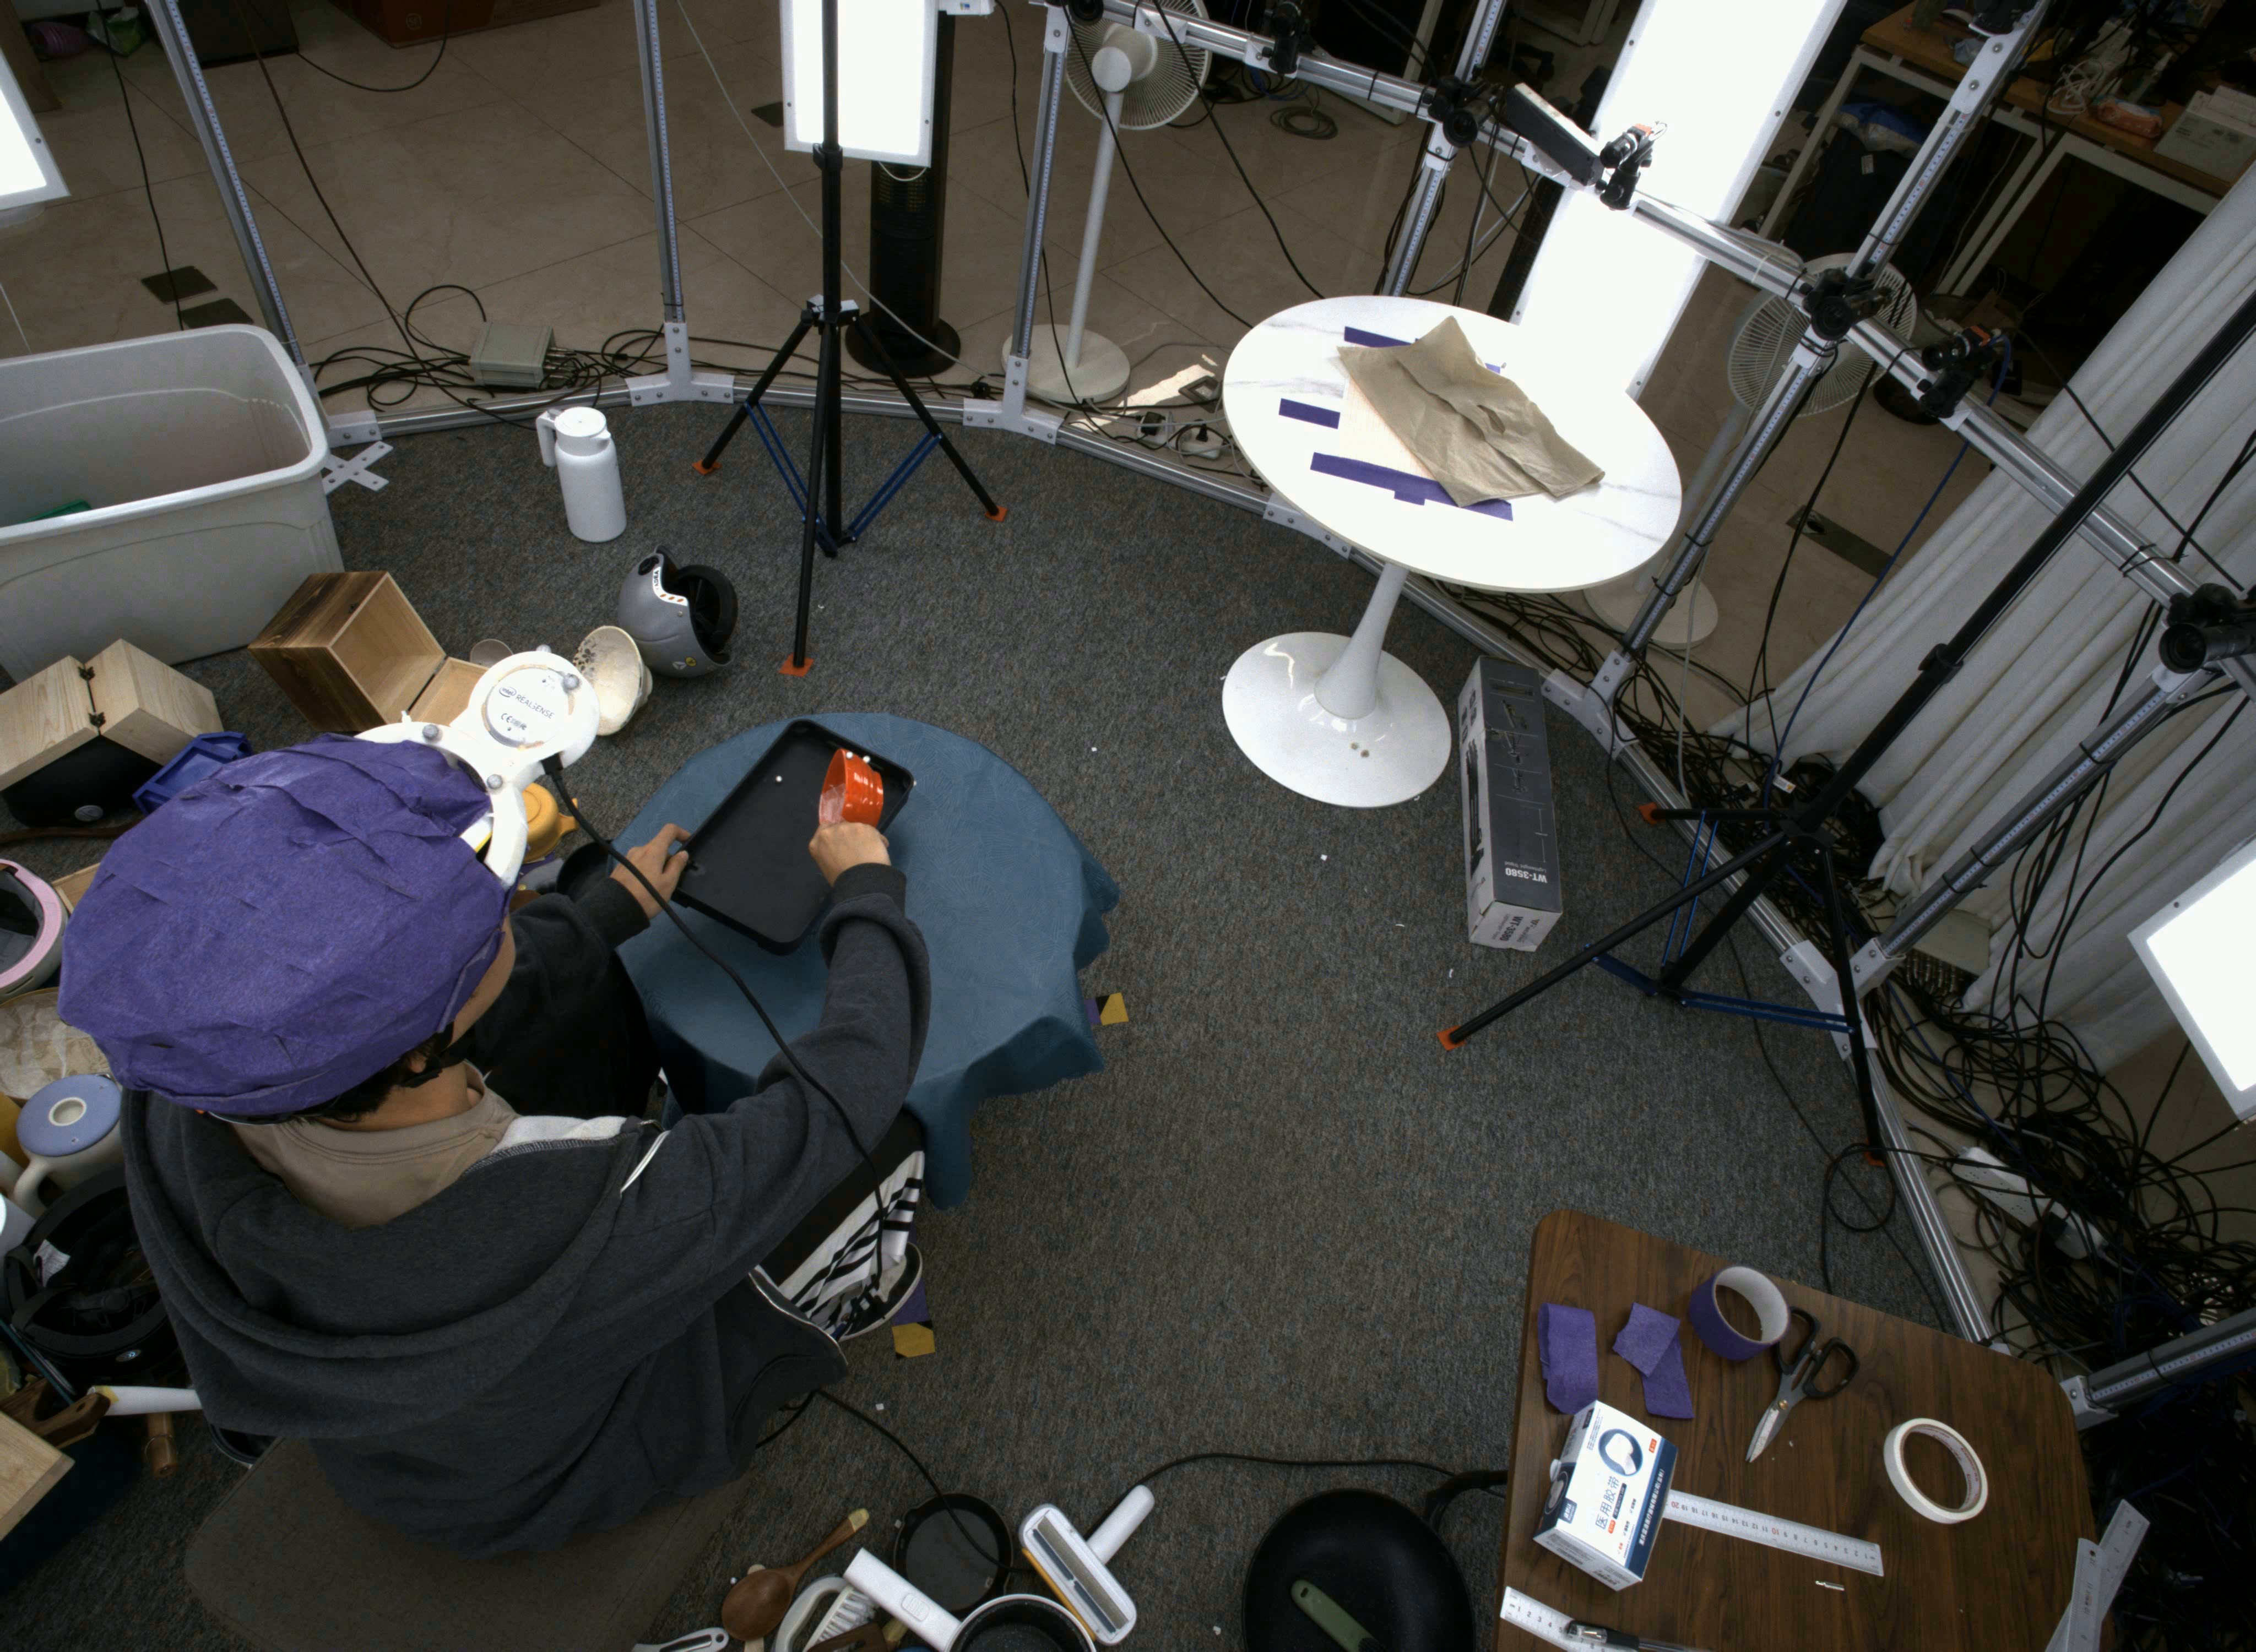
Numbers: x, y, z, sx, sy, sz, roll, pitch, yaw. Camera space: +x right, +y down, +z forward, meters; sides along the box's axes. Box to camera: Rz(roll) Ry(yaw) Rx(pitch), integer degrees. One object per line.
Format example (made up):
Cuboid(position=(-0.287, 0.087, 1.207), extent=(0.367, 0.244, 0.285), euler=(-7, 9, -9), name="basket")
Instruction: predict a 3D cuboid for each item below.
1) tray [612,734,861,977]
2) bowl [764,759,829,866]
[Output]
Cuboid(position=(-0.471, 0.027, 1.576), extent=(0.183, 0.037, 0.315), euler=(25, 48, -1), name="tray")
Cuboid(position=(-0.373, -0.014, 1.464), extent=(0.052, 0.120, 0.116), euler=(6, 49, -28), name="bowl")
